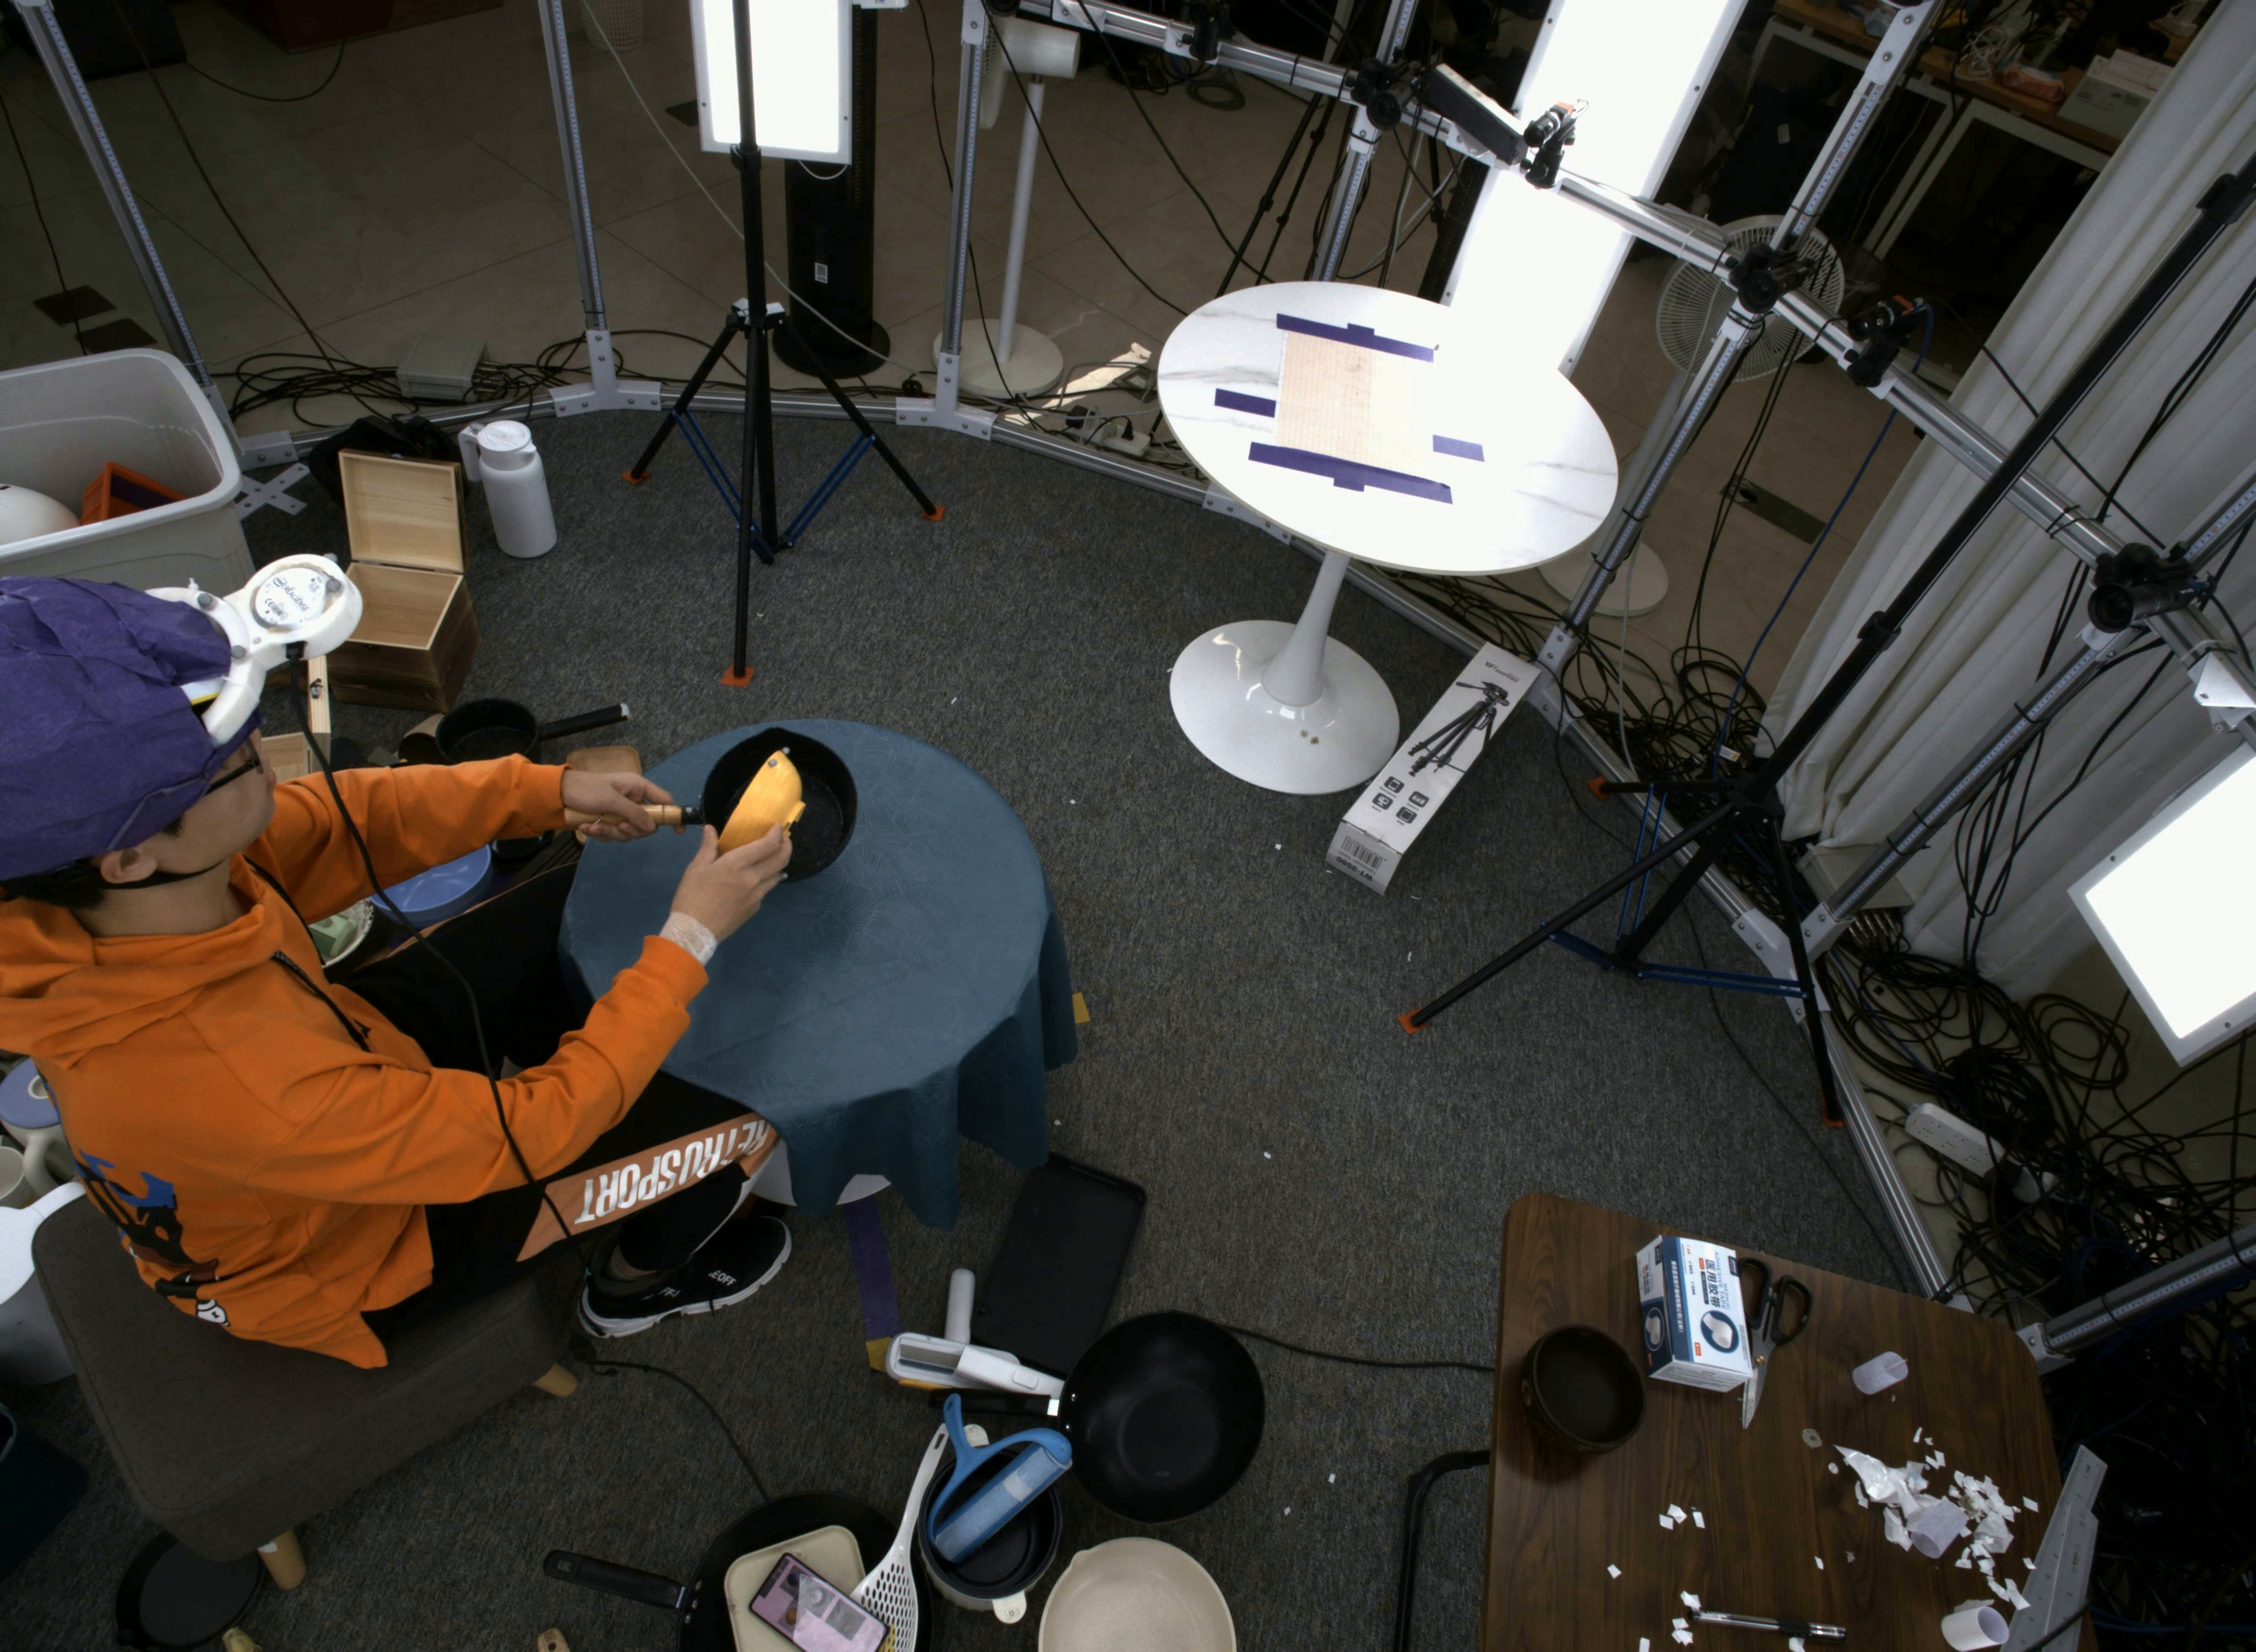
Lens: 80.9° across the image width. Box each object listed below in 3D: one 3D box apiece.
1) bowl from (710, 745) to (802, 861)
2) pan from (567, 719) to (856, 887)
[{"bbox_3d":[-0.413,-0.016,1.477,0.060,0.146,0.144,29,50,-7],"label":"bowl"},{"bbox_3d":[-0.500,-0.013,1.549,0.343,0.108,0.206,-6,75,-16],"label":"pan"}]
